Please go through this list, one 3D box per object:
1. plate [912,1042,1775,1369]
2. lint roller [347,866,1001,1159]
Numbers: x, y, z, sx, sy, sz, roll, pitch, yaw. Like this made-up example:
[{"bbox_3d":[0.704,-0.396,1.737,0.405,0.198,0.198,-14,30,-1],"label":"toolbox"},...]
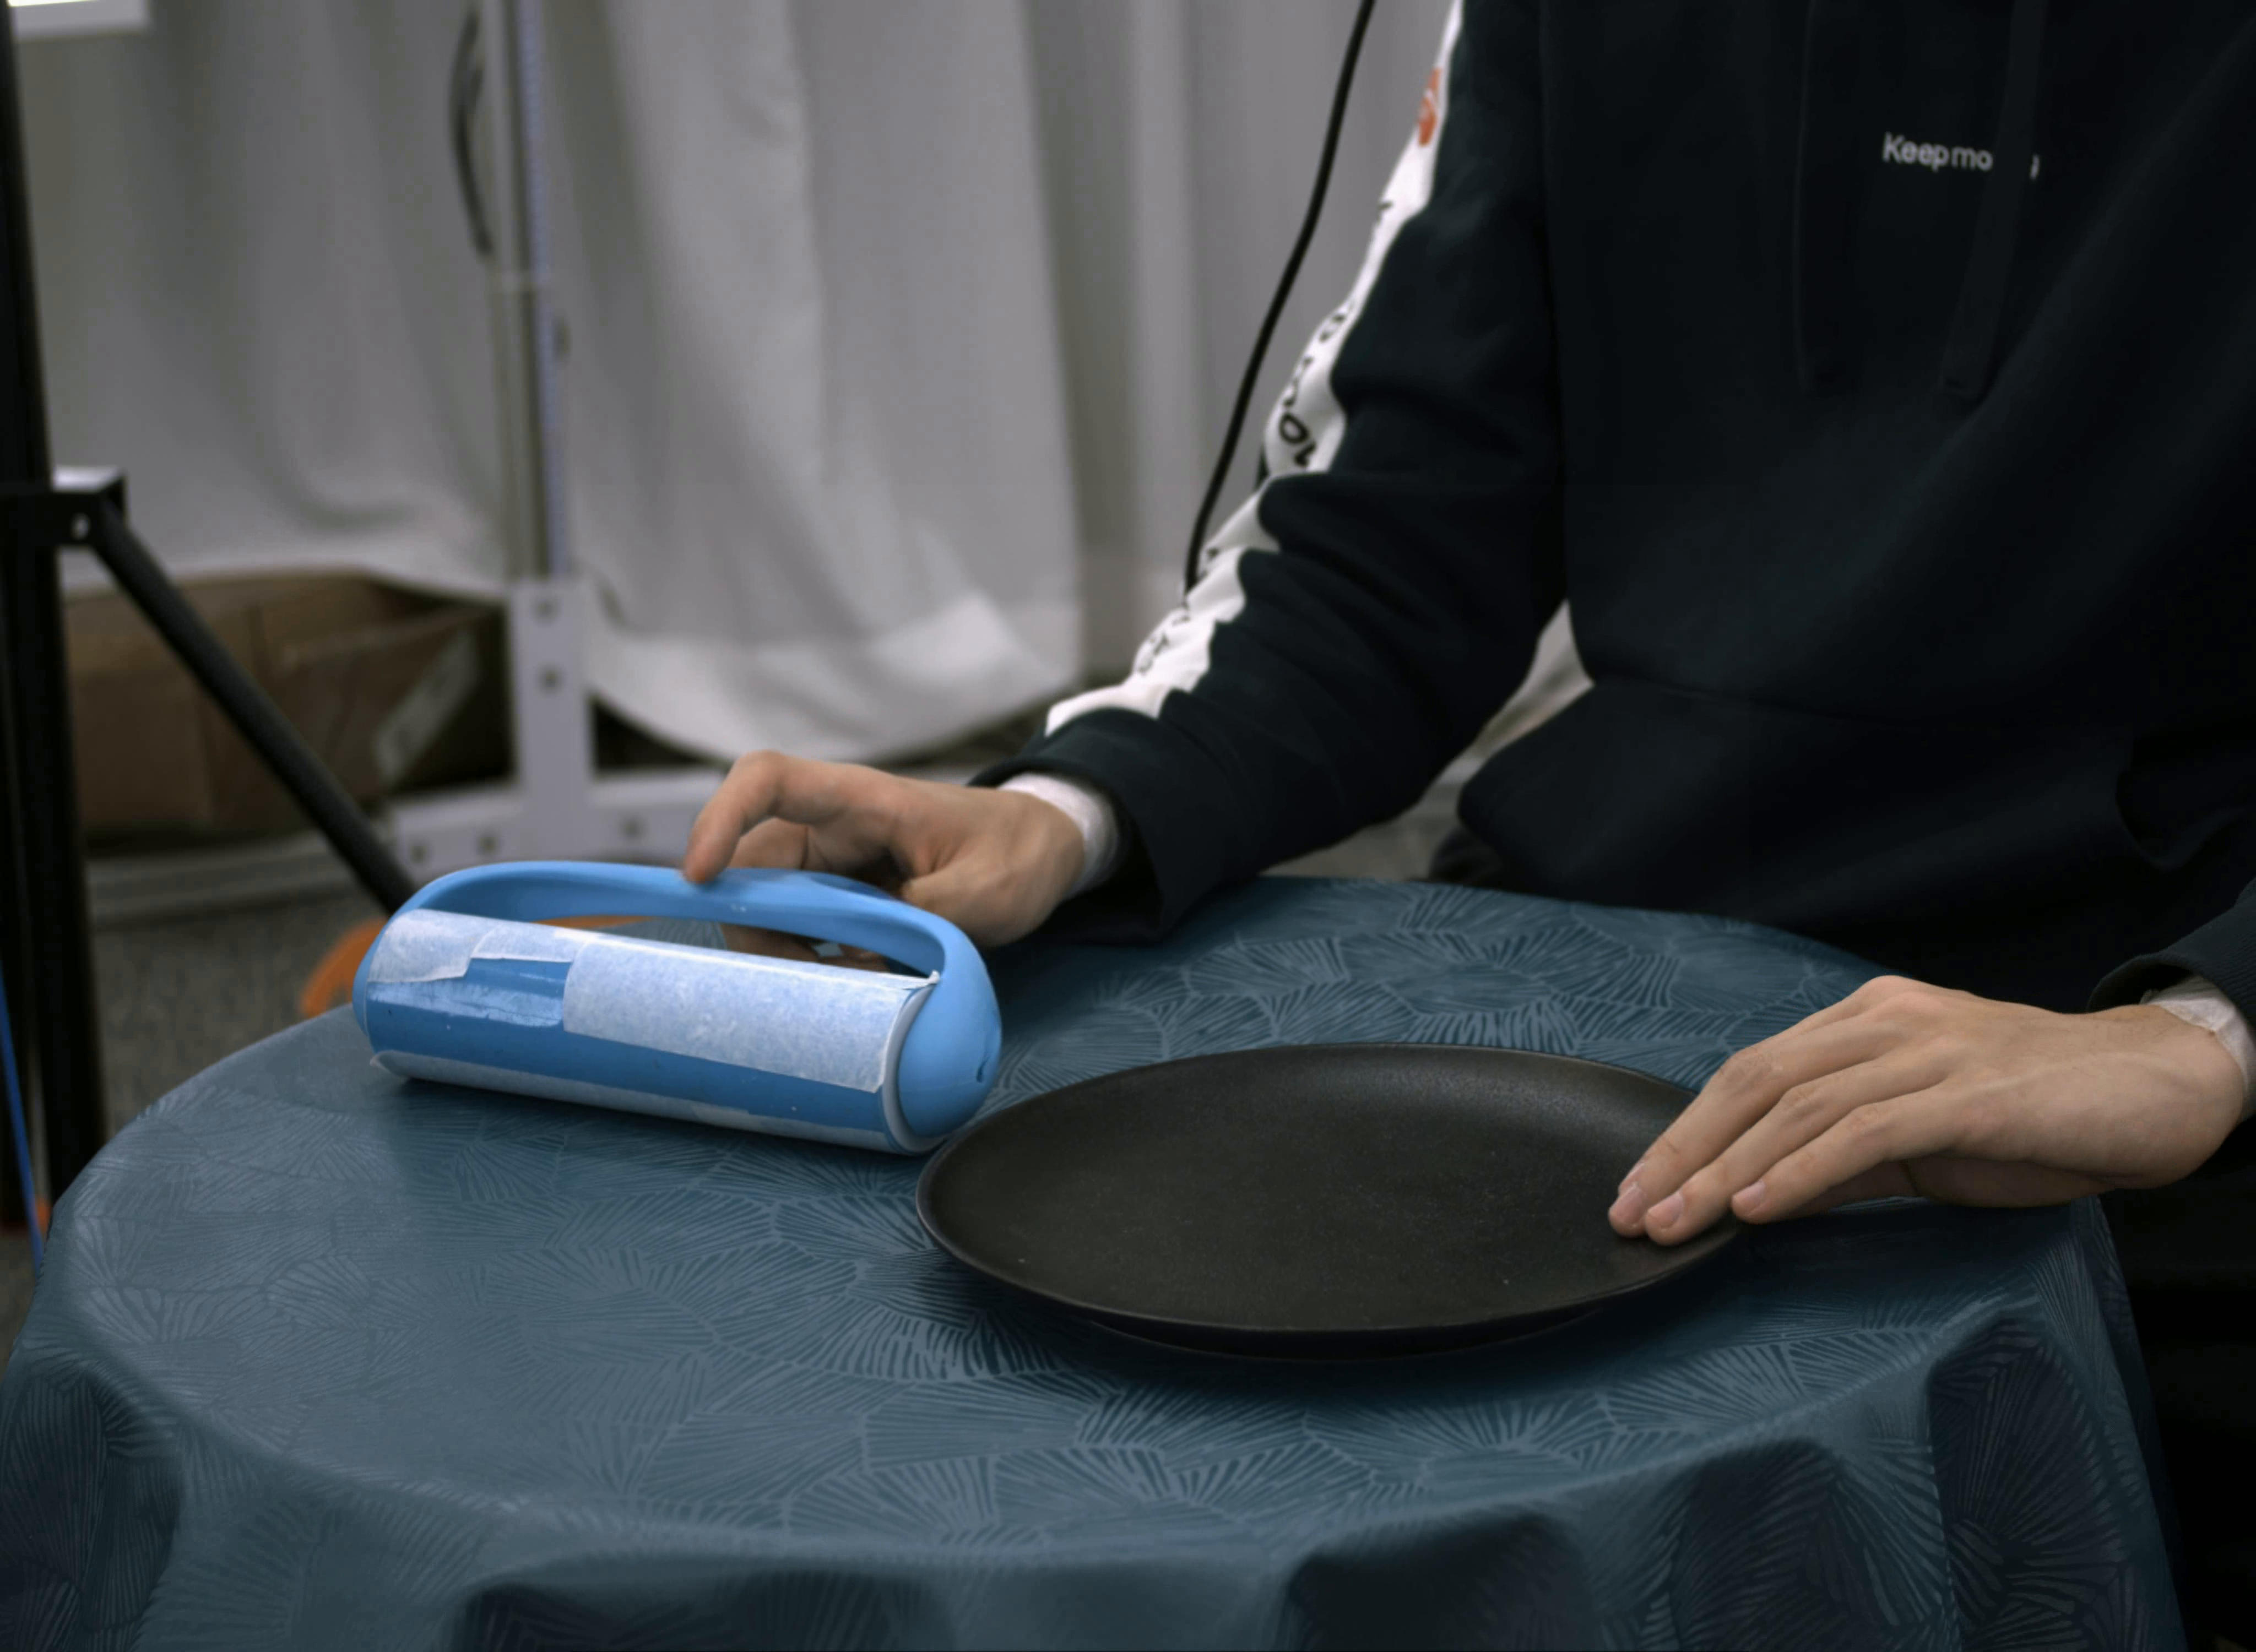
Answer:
[{"bbox_3d":[0.061,0.110,1.500,0.243,0.023,0.245,-3,16,-1],"label":"plate"},{"bbox_3d":[-0.117,0.047,1.691,0.232,0.068,0.177,5,17,27],"label":"lint roller"}]
